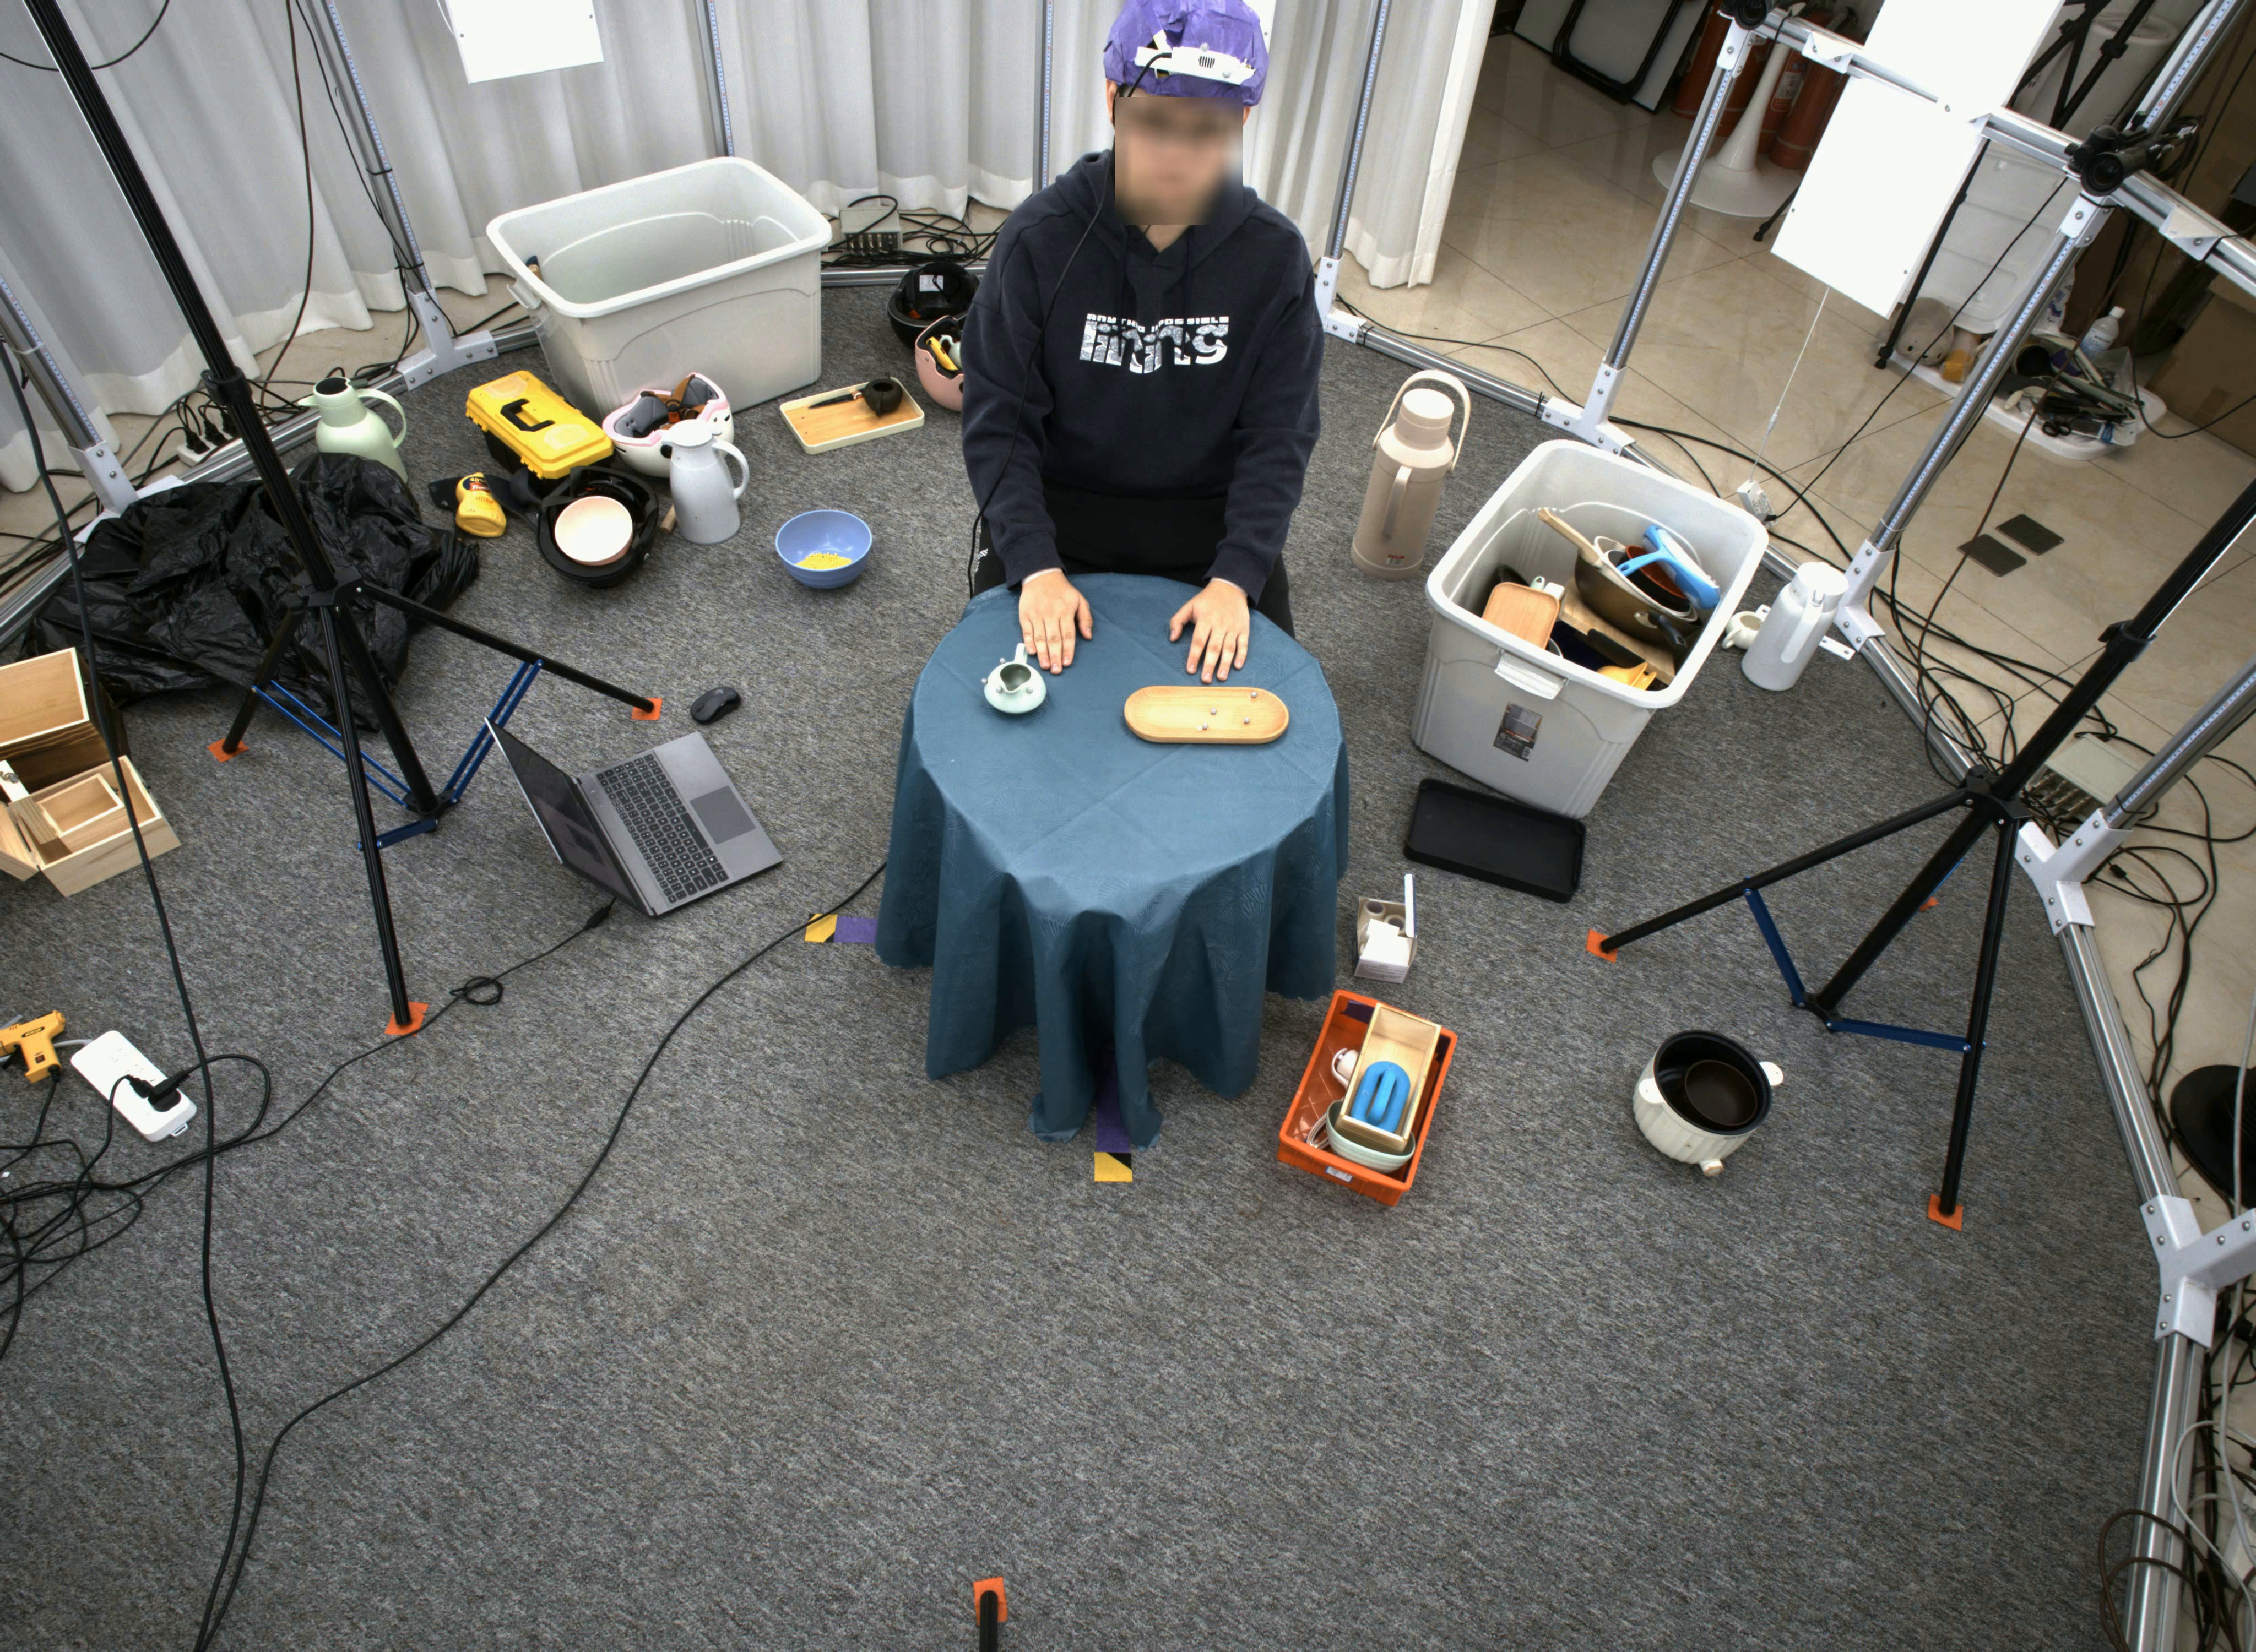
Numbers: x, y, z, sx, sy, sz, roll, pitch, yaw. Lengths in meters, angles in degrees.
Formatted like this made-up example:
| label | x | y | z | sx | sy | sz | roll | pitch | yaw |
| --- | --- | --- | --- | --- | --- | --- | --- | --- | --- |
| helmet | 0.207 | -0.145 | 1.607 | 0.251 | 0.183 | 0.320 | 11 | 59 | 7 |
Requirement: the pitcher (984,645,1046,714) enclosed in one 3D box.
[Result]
| label | x | y | z | sx | sy | sz | roll | pitch | yaw |
| --- | --- | --- | --- | --- | --- | --- | --- | --- | --- |
| pitcher | -0.156 | -0.203 | 1.794 | 0.086 | 0.059 | 0.110 | 7 | 47 | 0 |

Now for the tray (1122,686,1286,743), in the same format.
| label | x | y | z | sx | sy | sz | roll | pitch | yaw |
| --- | --- | --- | --- | --- | --- | --- | --- | --- | --- |
| tray | 0.107 | -0.156 | 1.799 | 0.231 | 0.020 | 0.104 | -1 | 48 | -3 |
